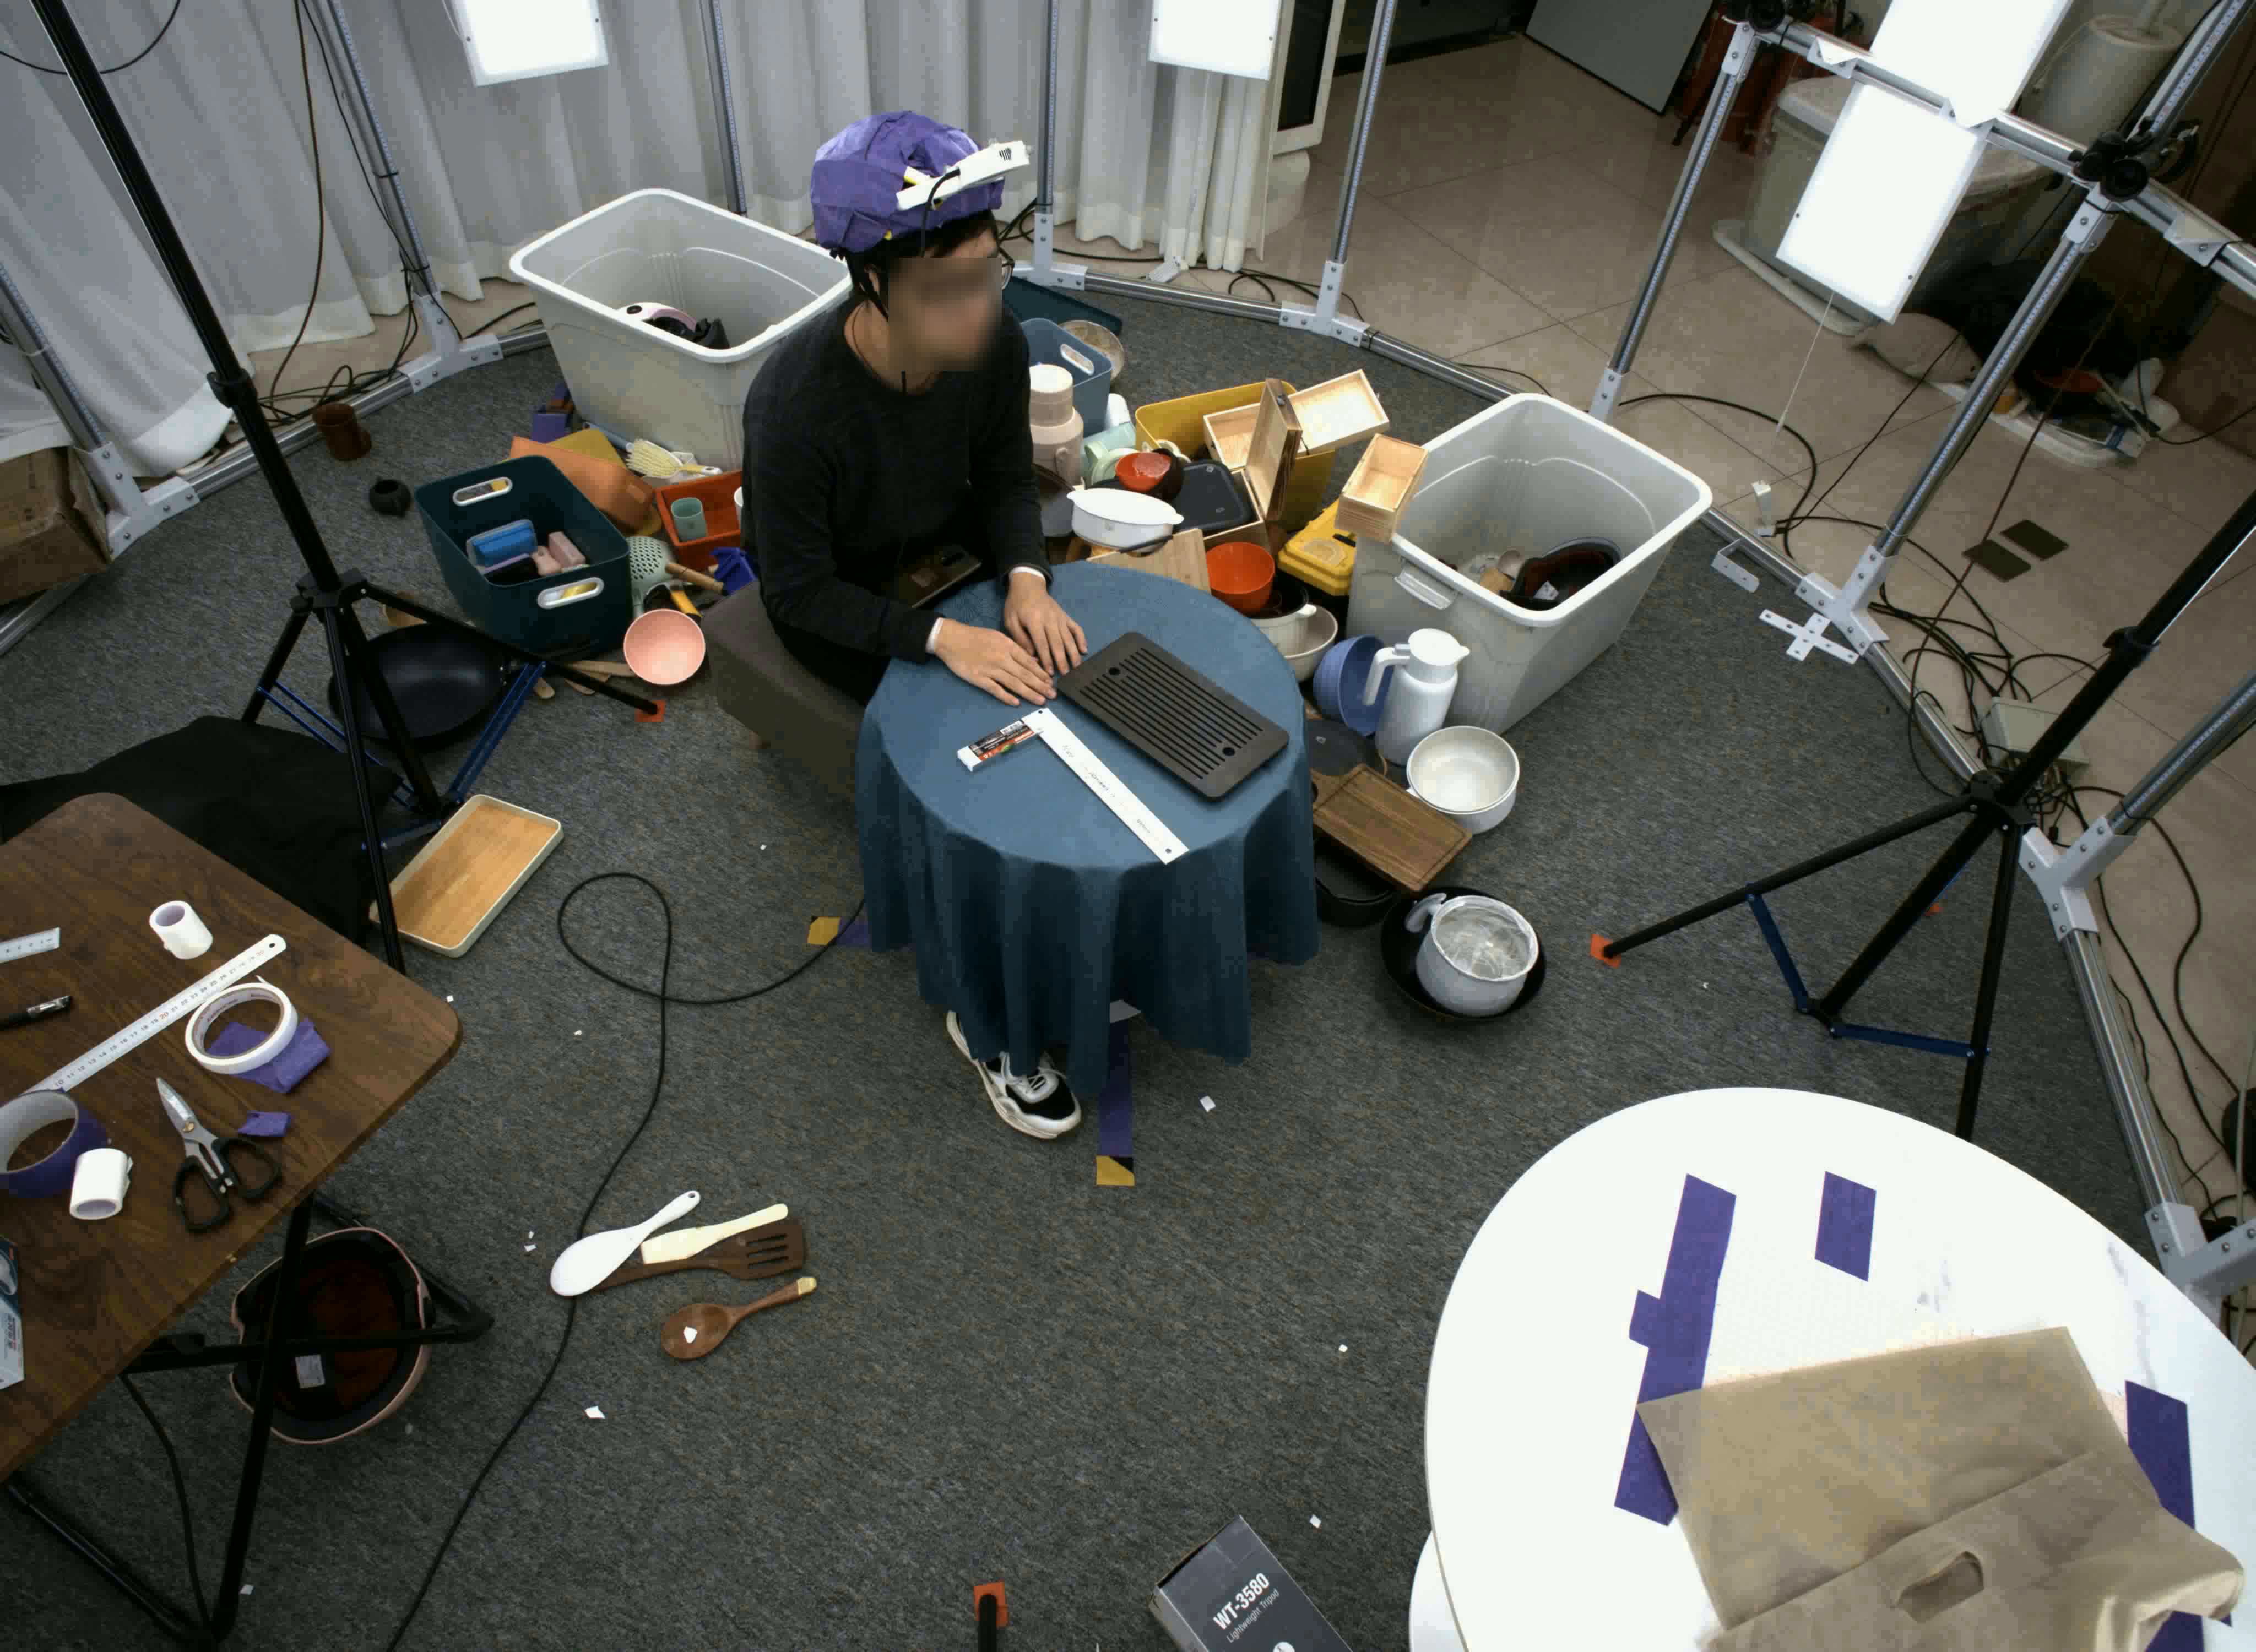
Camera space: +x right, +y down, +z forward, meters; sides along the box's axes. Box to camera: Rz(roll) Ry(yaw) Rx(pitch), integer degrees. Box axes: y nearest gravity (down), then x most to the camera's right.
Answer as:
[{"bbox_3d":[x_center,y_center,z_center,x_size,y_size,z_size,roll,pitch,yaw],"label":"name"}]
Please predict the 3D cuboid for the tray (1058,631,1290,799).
[{"bbox_3d":[0.062,-0.160,1.801,0.310,0.018,0.172,37,57,25],"label":"tray"}]

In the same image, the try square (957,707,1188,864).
[{"bbox_3d":[-0.077,-0.035,1.691,0.153,0.015,0.318,-29,58,-25],"label":"try square"}]
